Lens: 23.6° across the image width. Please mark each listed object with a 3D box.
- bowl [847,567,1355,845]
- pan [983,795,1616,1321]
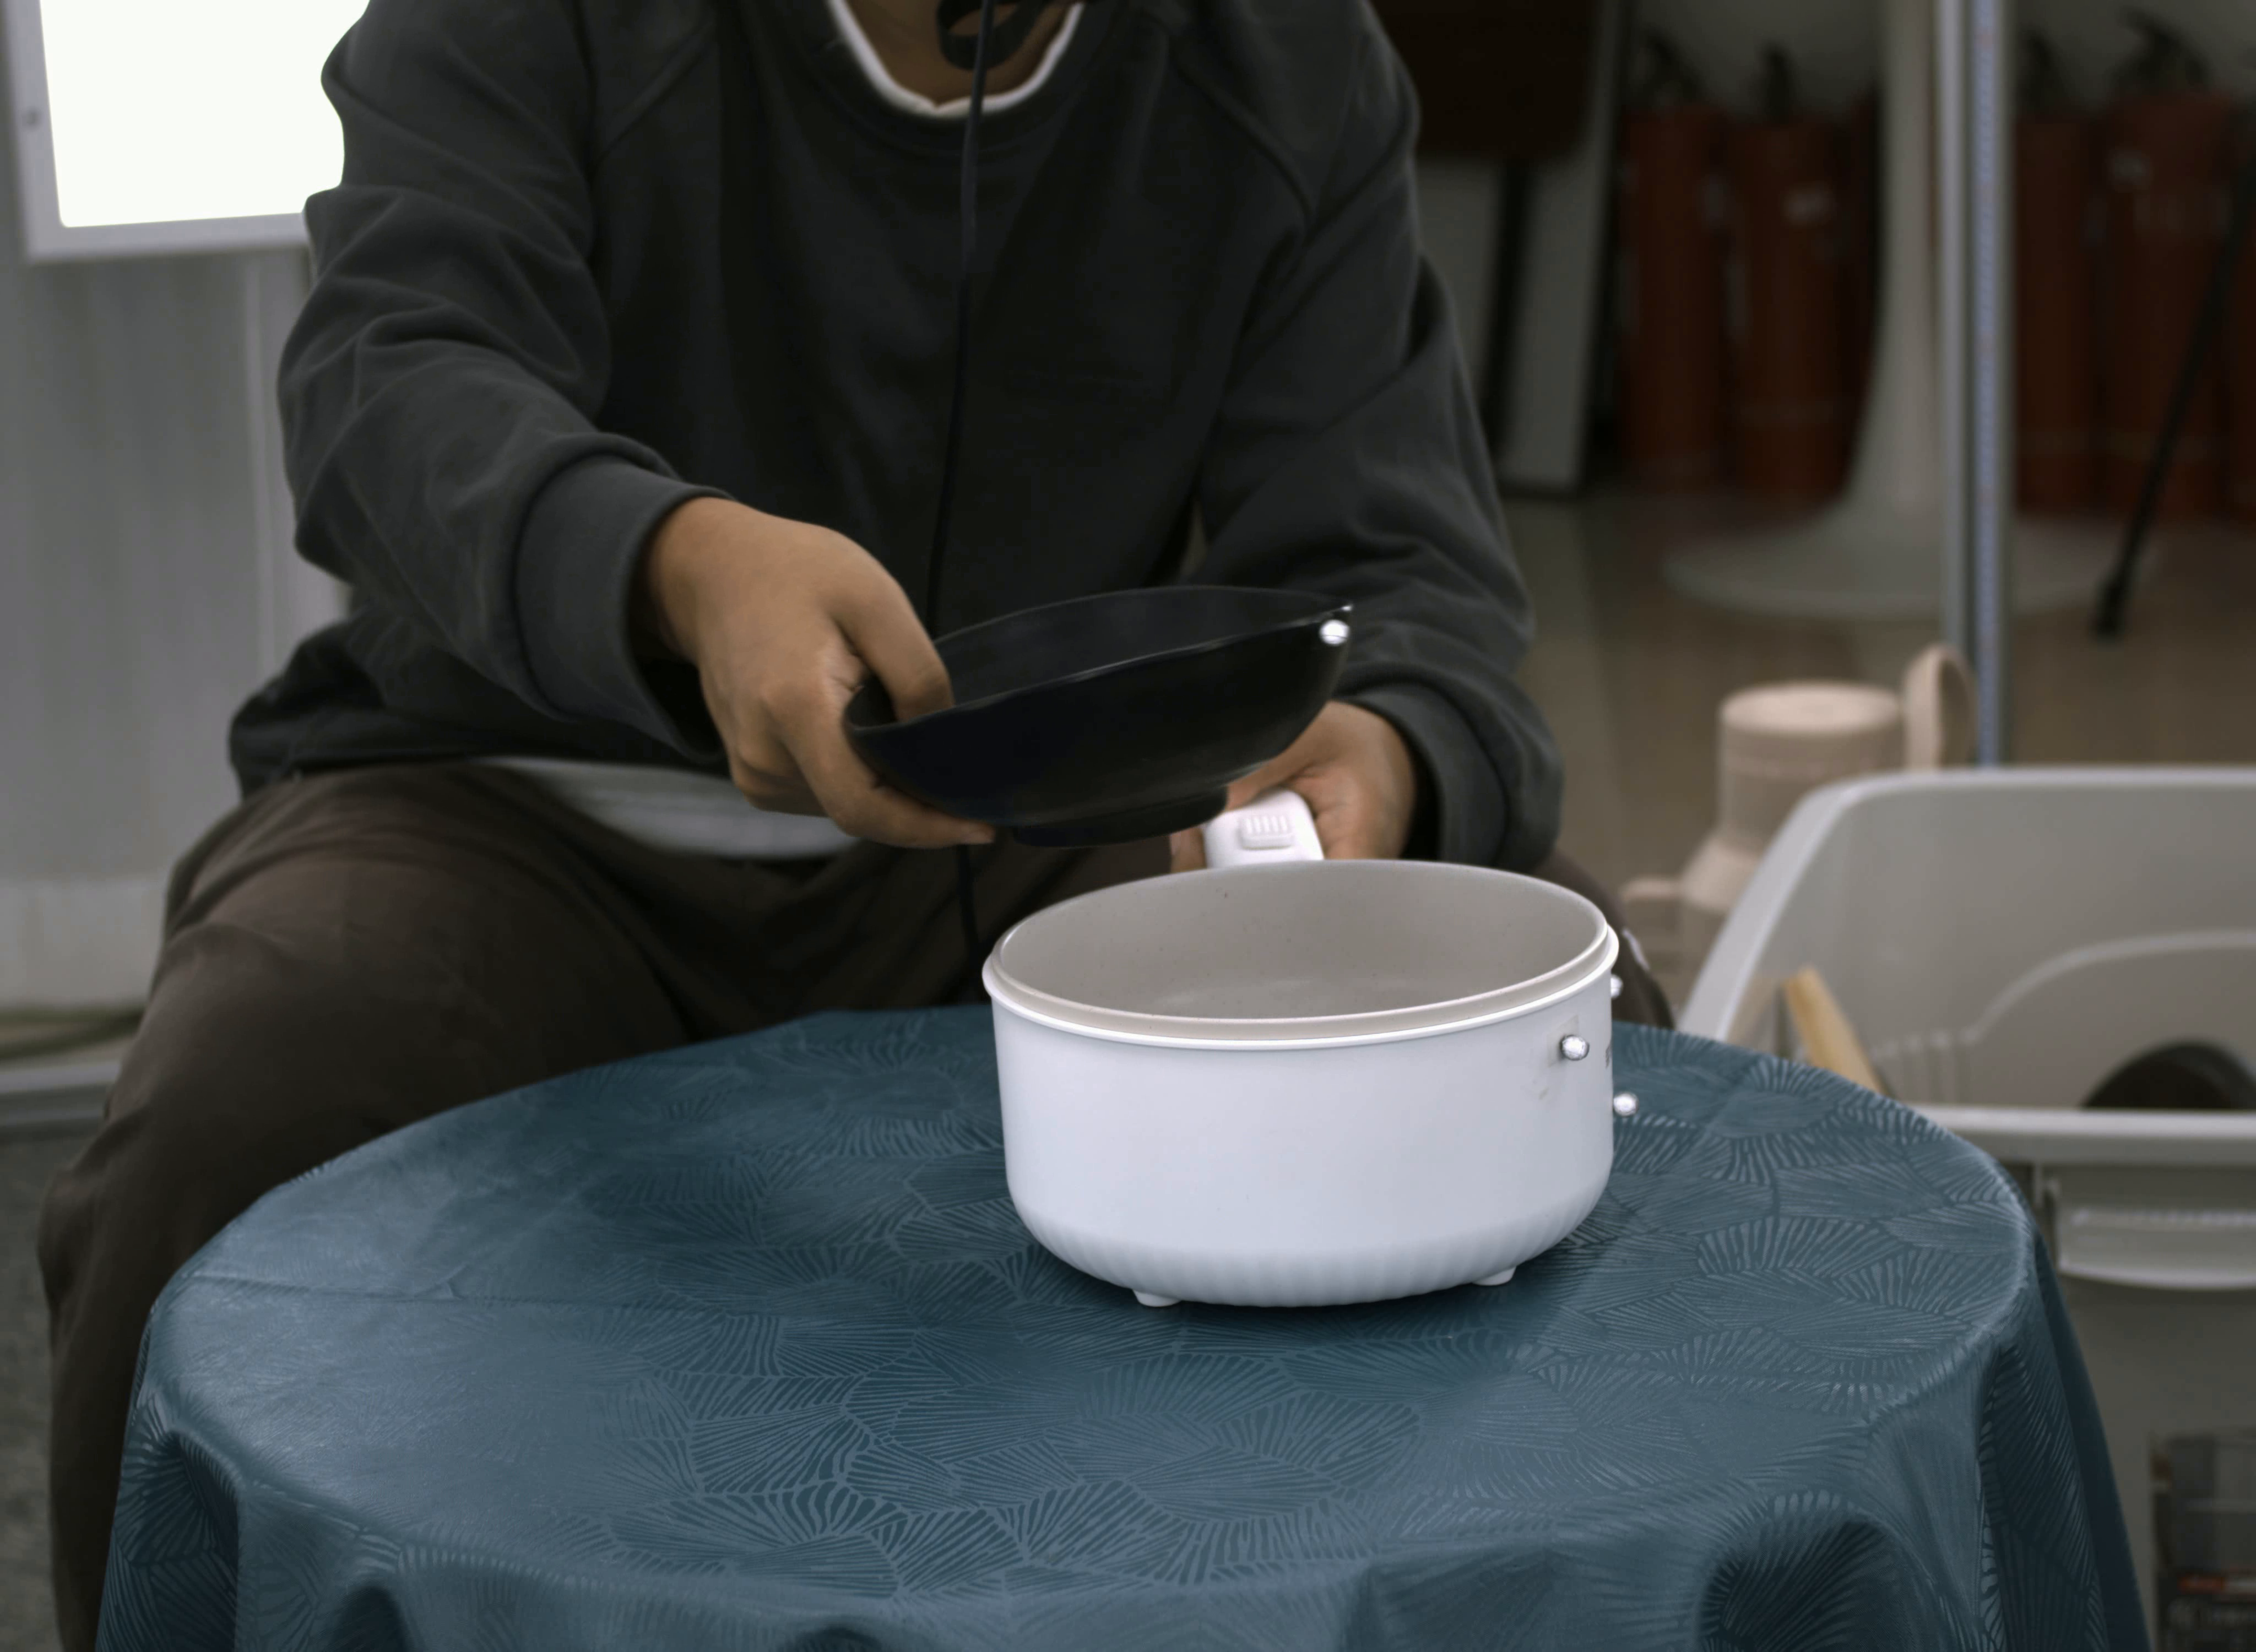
[{"bbox_3d":[-0.003,-0.034,1.703,0.167,0.067,0.138,-15,11,-19],"label":"bowl"},{"bbox_3d":[0.054,0.071,1.777,0.198,0.103,0.355,-6,11,-1],"label":"pan"}]
